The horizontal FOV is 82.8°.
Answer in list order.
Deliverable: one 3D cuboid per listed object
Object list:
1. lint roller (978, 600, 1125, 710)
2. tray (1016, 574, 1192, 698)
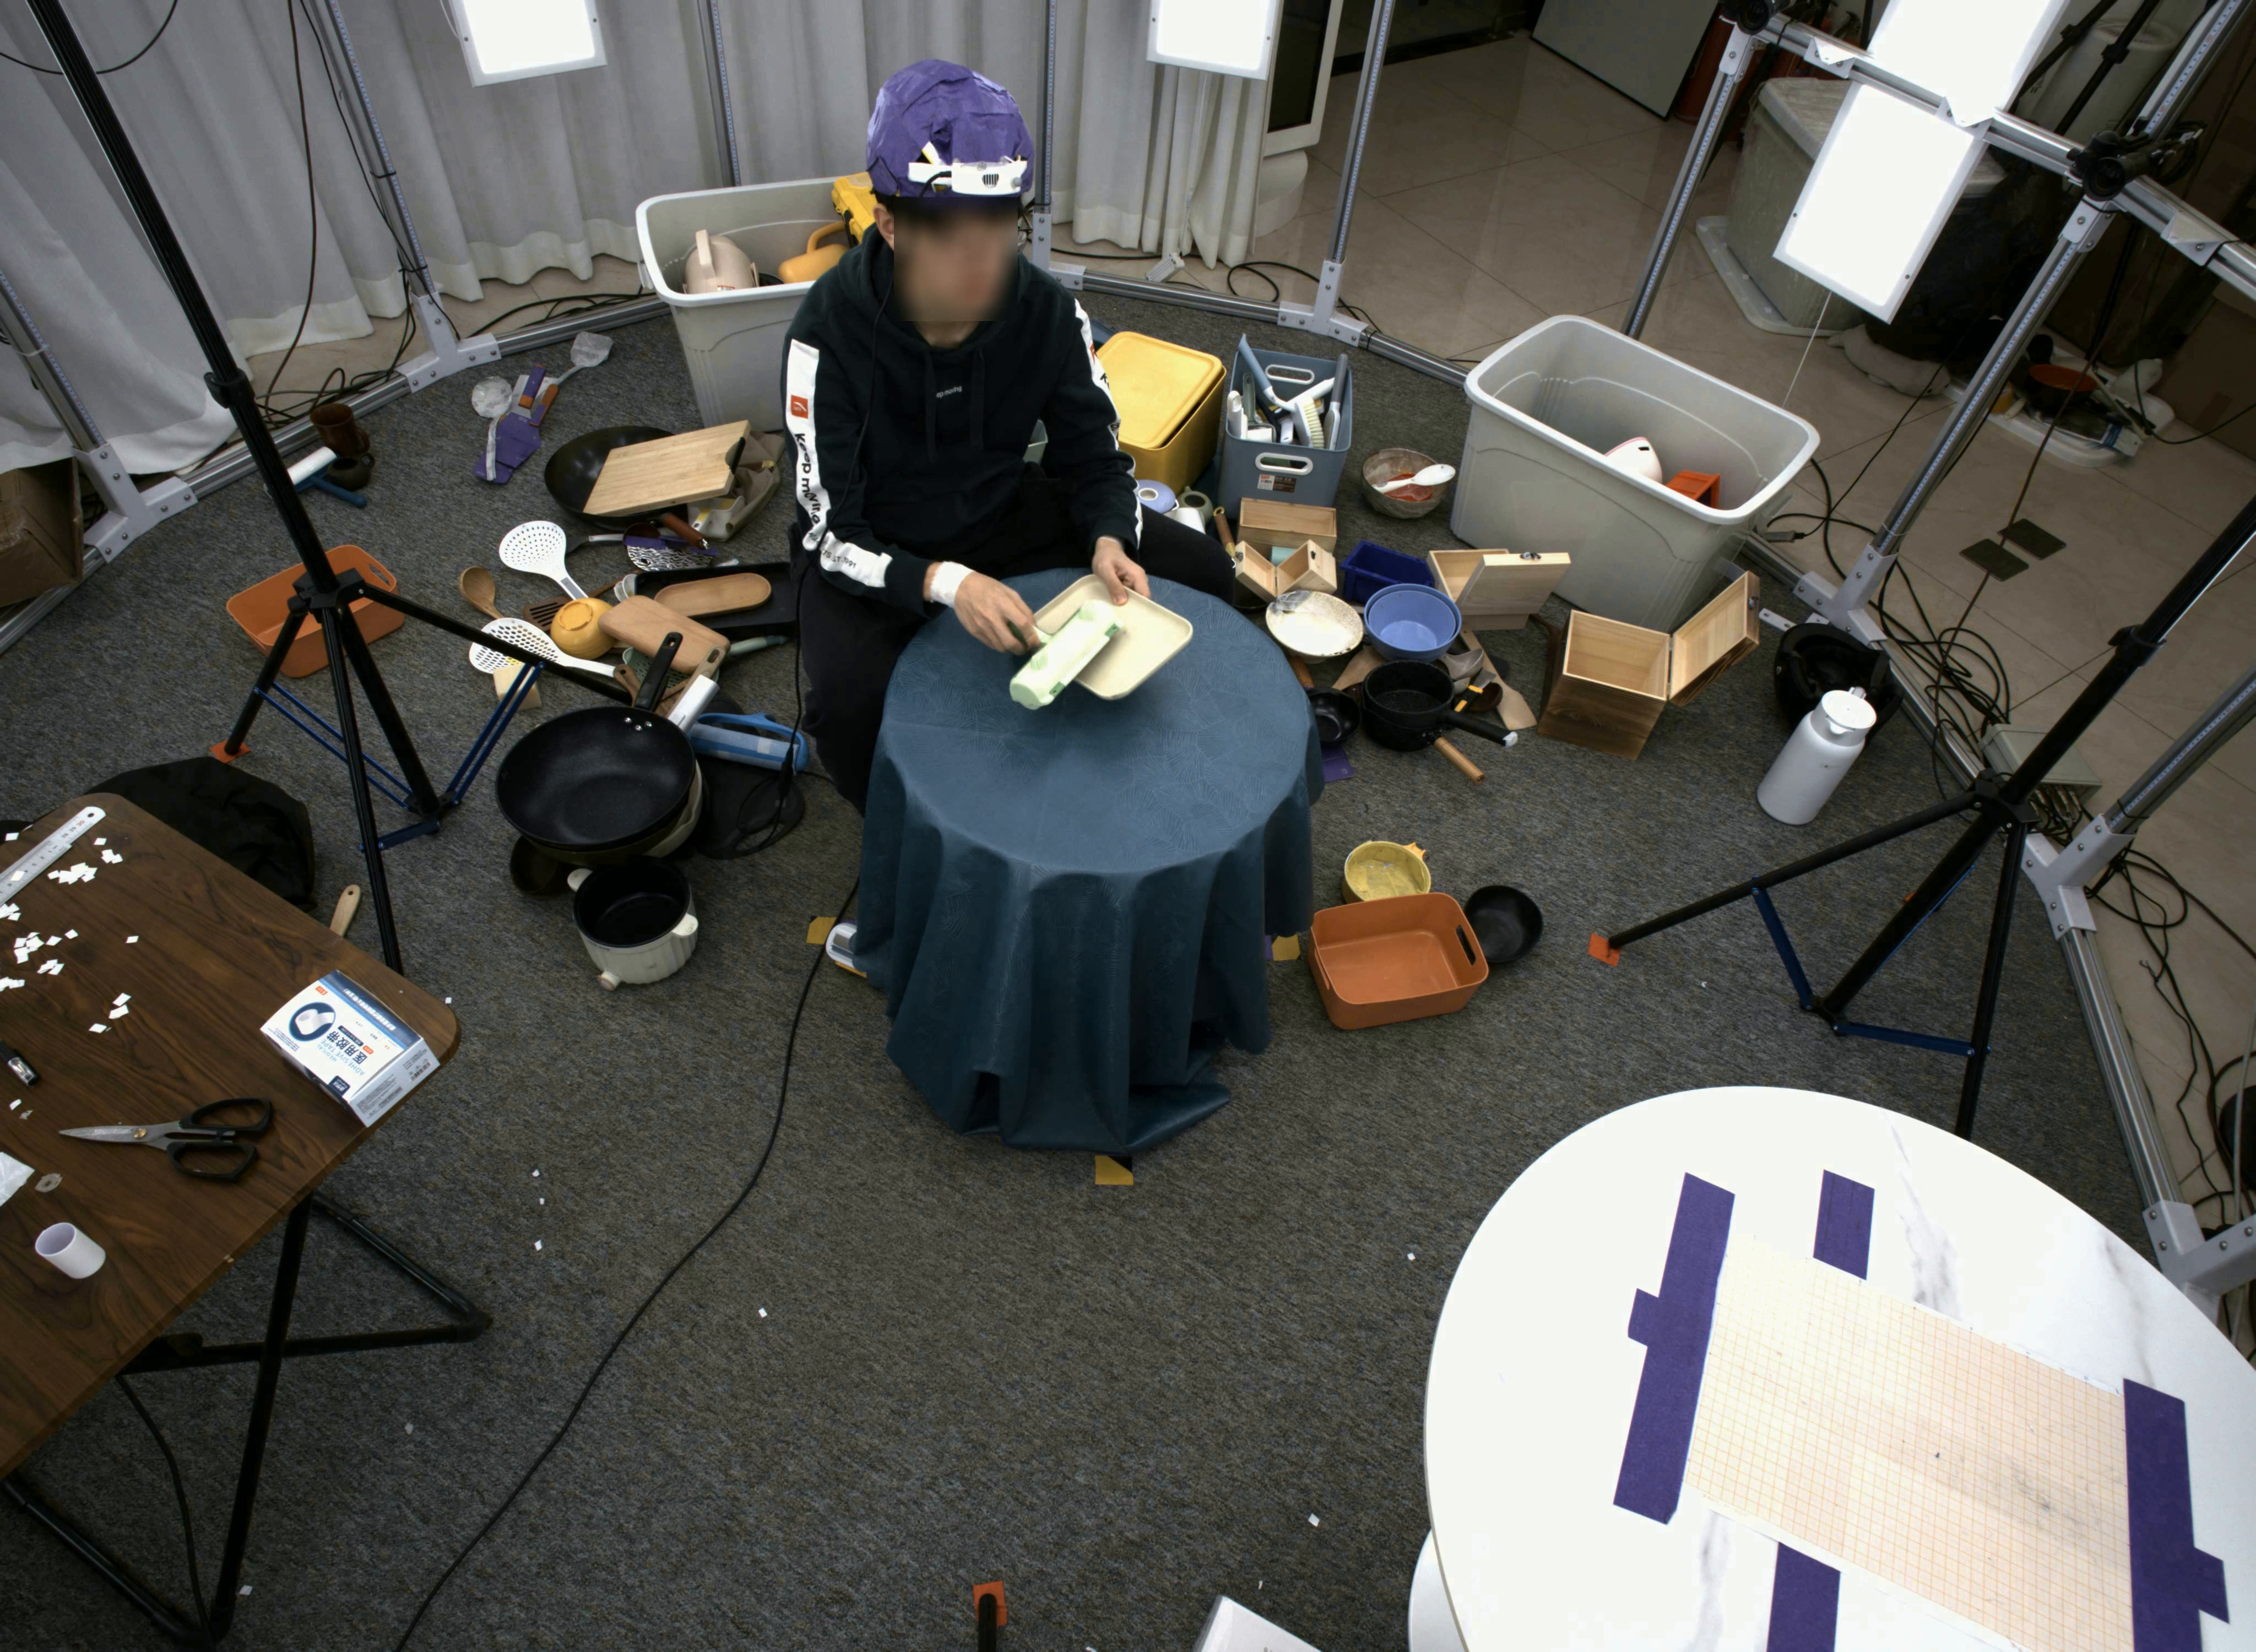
[{"bbox_3d":[-0.128,-0.269,1.760,0.184,0.080,0.201,33,57,12],"label":"lint roller"},{"bbox_3d":[-0.035,-0.269,1.812,0.172,0.017,0.244,-41,49,-17],"label":"tray"}]
